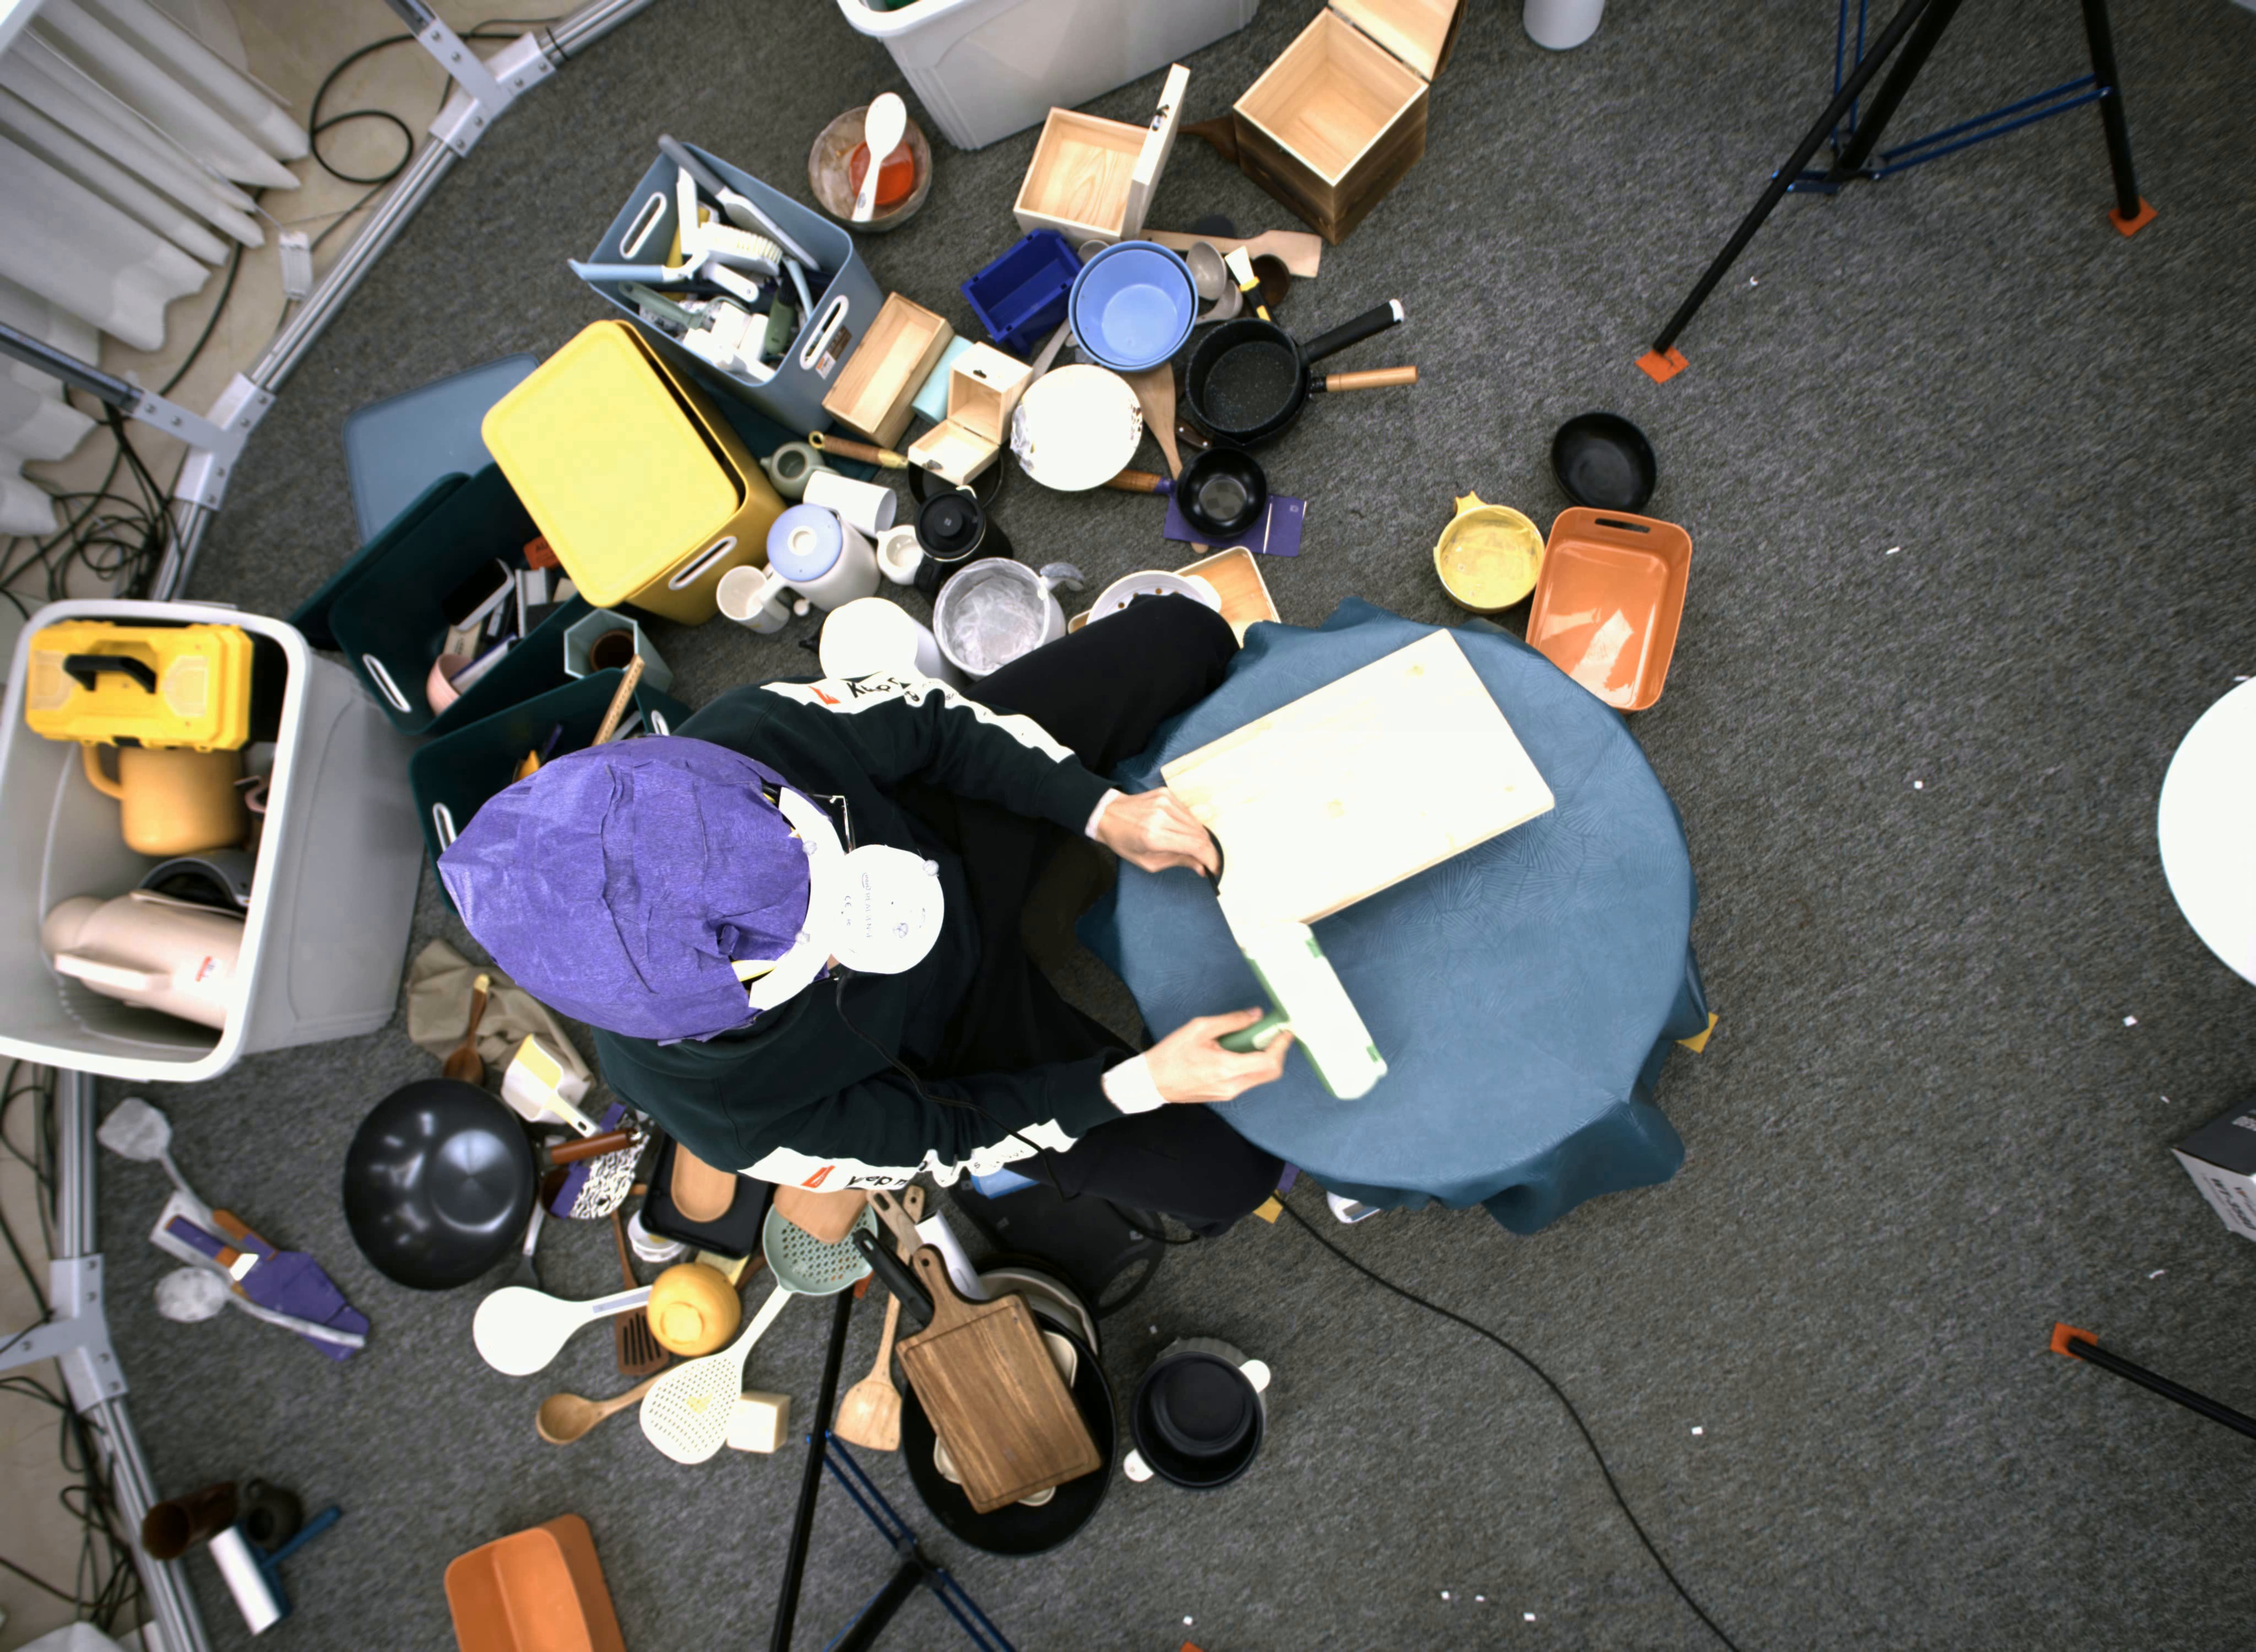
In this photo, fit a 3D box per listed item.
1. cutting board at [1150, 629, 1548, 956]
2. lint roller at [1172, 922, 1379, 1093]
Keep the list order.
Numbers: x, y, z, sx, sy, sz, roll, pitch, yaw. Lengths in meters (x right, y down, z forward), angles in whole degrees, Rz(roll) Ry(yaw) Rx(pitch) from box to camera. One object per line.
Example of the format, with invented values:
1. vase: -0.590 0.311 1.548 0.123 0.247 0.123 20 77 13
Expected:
1. cutting board: 0.219 -0.040 1.412 0.350 0.024 0.245 -27 57 7
2. lint roller: 0.128 0.209 1.353 0.184 0.081 0.201 -31 115 5
